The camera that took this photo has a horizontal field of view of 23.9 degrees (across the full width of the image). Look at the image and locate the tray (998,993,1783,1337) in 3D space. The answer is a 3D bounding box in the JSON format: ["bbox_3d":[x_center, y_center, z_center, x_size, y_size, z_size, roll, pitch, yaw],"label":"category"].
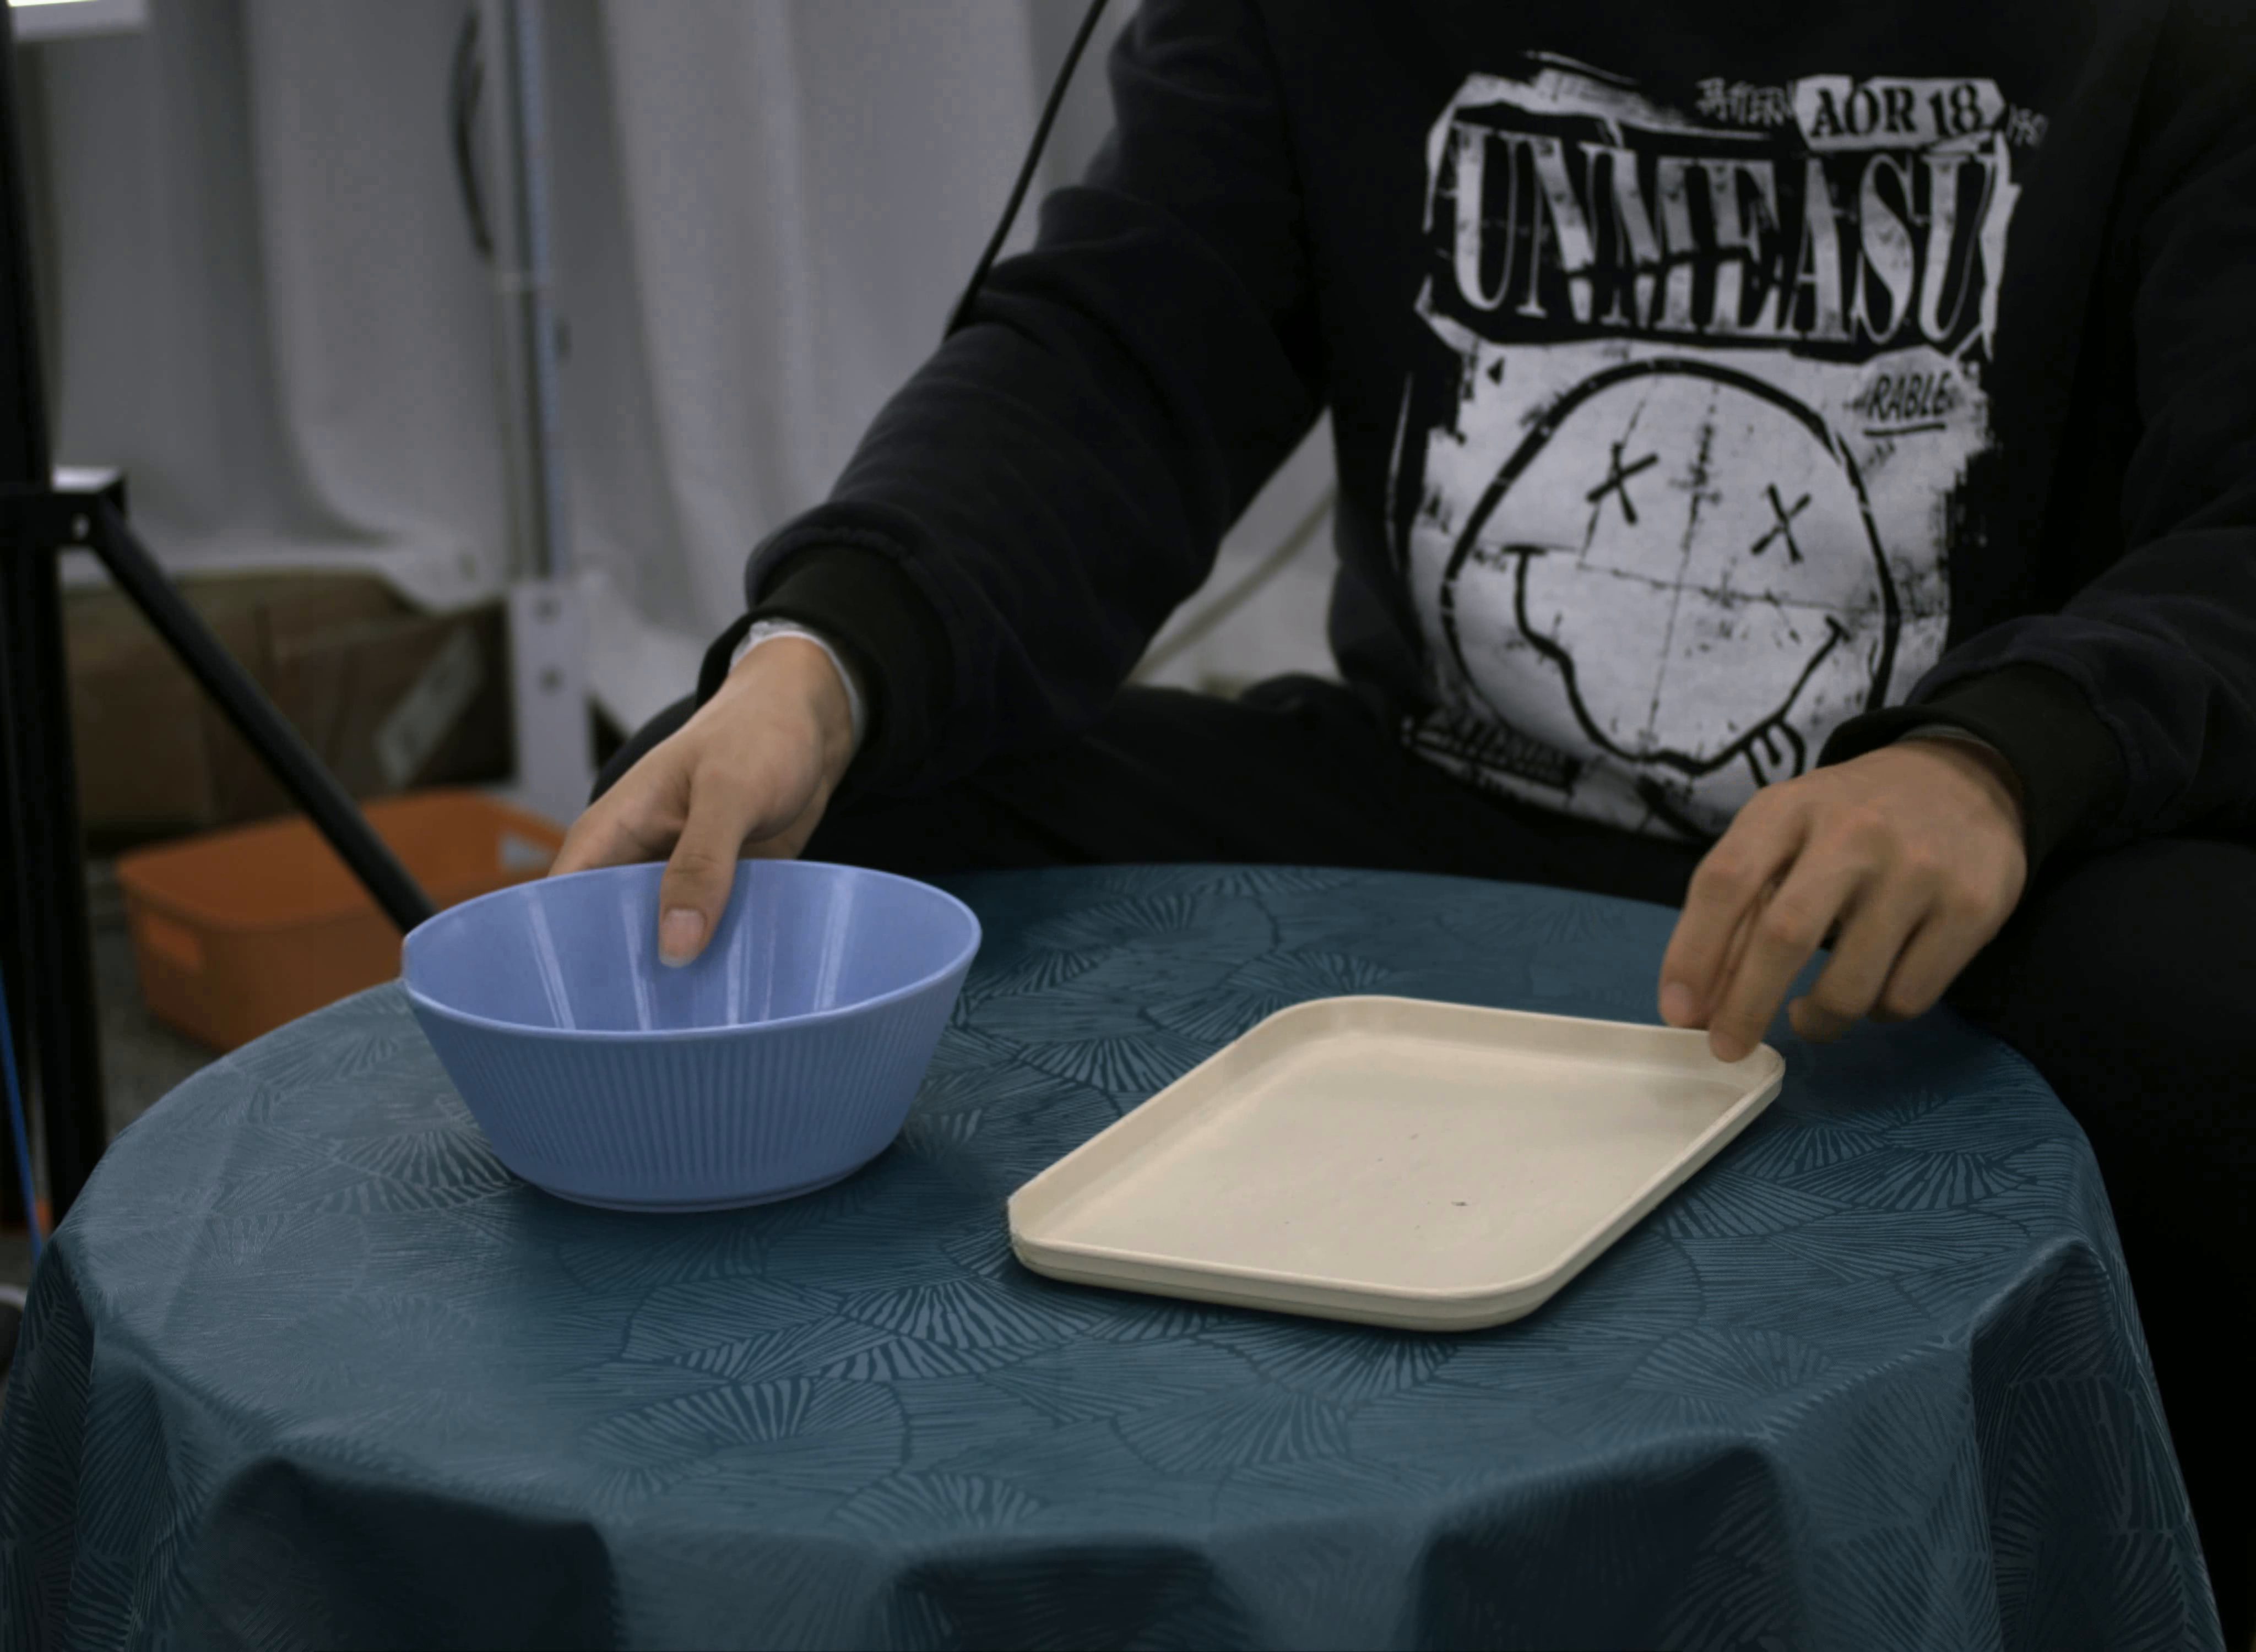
[{"bbox_3d":[0.081,0.098,1.549,0.174,0.017,0.236,6,18,27],"label":"tray"}]

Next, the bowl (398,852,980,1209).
[{"bbox_3d":[-0.130,0.064,1.604,0.175,0.070,0.177,-3,17,-1],"label":"bowl"}]
